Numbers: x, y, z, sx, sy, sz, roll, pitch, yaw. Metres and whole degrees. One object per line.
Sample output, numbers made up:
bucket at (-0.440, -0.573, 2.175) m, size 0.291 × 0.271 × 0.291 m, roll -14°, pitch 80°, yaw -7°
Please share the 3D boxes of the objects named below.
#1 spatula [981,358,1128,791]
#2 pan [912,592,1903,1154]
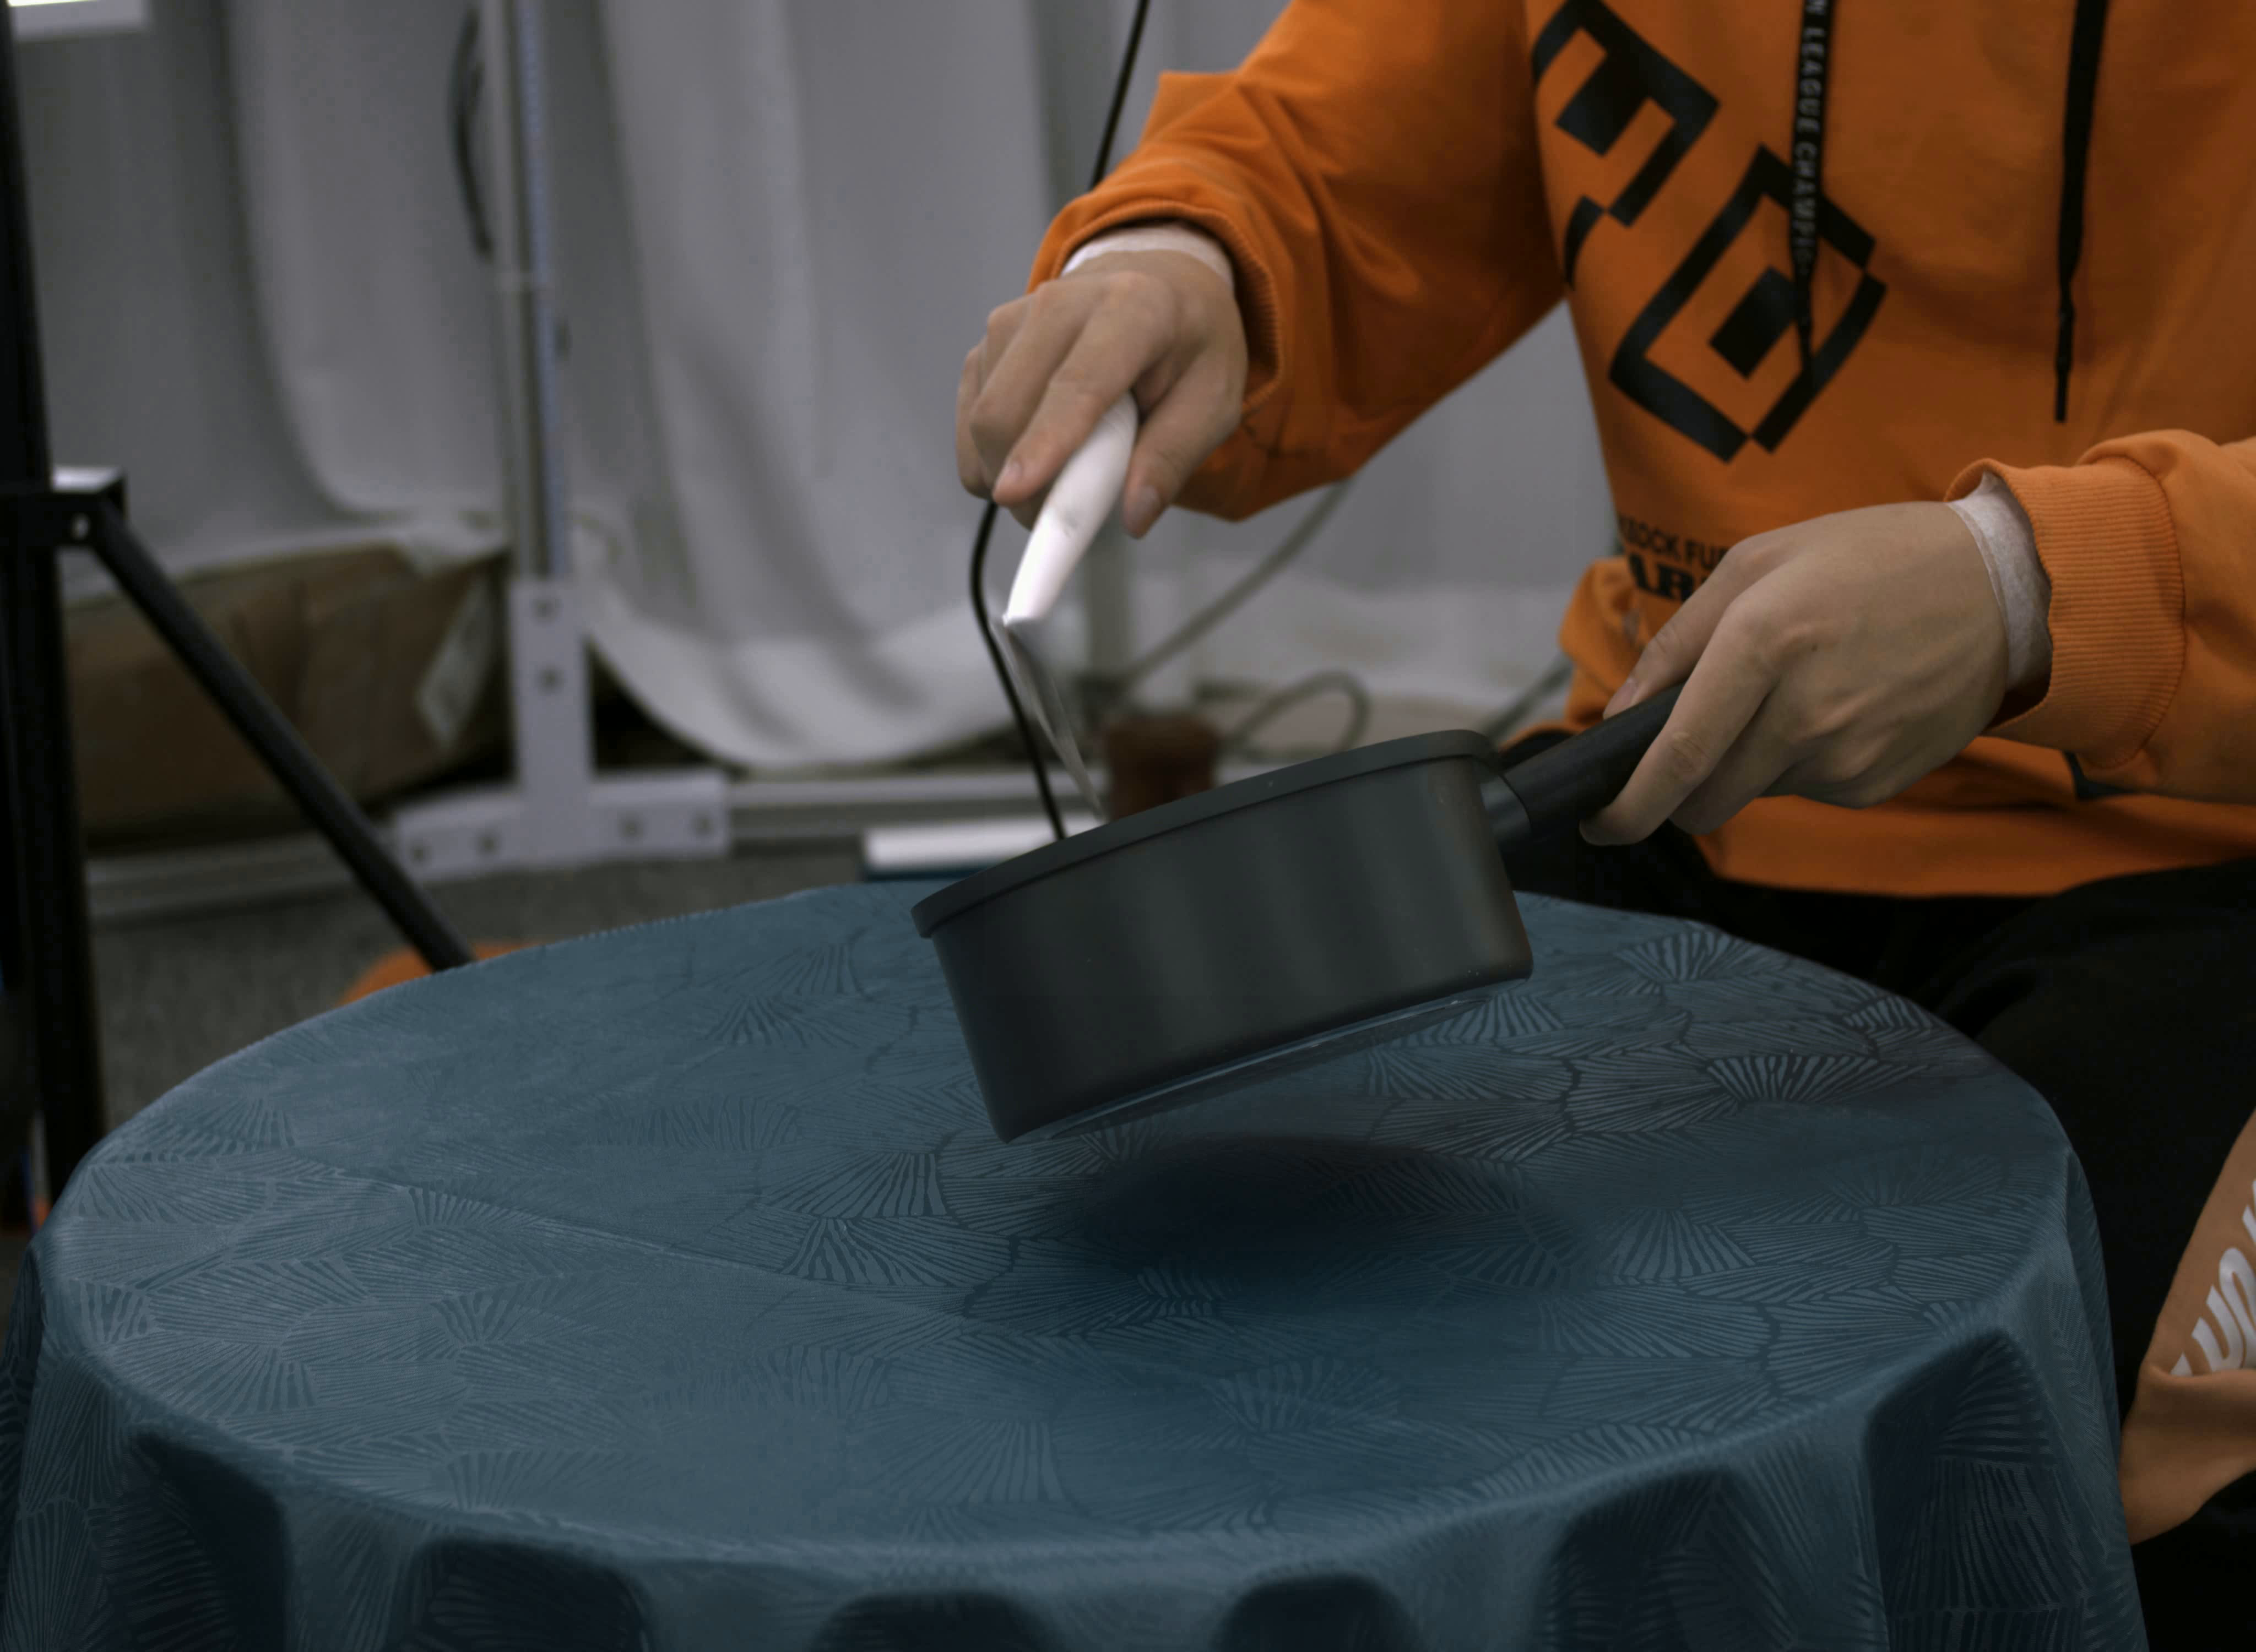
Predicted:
spatula at (-0.022, -0.081, 1.615) m, size 0.032 × 0.058 × 0.288 m, roll -25°, pitch 20°, yaw 13°
pan at (0.098, 0.013, 1.558) m, size 0.322 × 0.087 × 0.174 m, roll -17°, pitch -5°, yaw -24°
